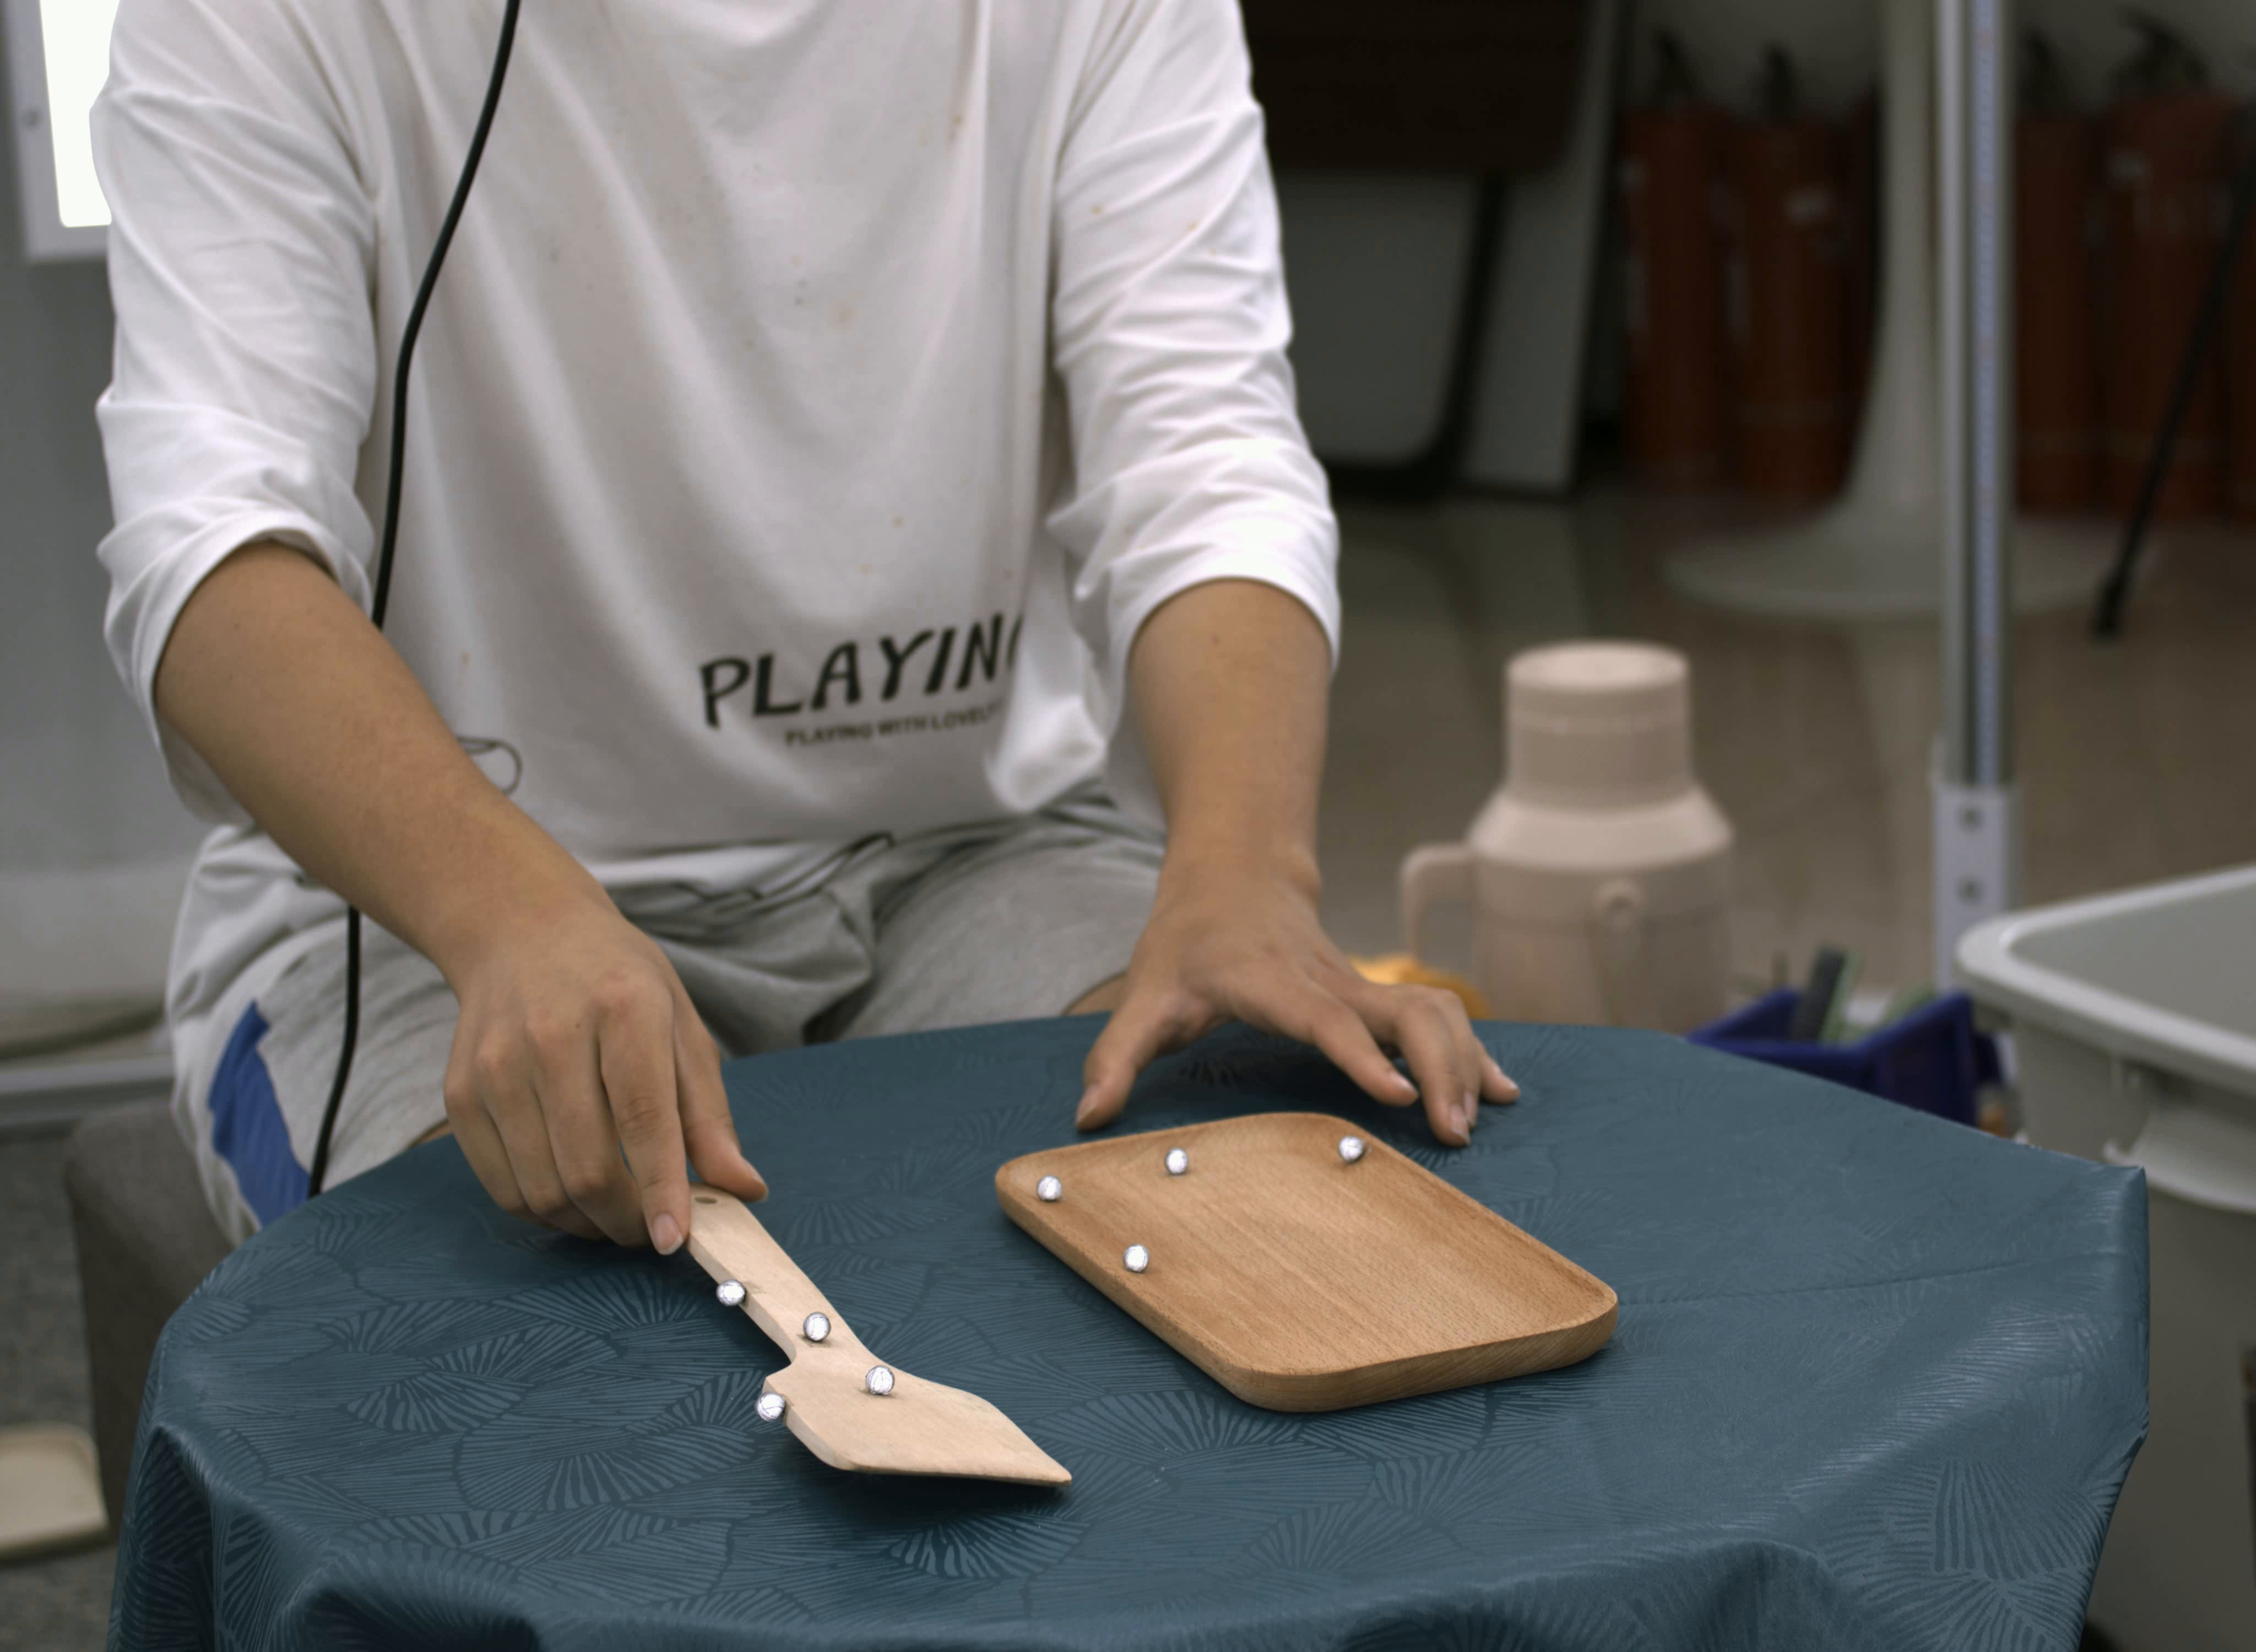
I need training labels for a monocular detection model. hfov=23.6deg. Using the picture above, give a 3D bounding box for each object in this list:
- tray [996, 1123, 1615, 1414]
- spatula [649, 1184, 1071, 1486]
[{"bbox_3d":[0.051,0.135,1.672,0.128,0.023,0.253,-11,15,-17],"label":"tray"},{"bbox_3d":[-0.096,0.150,1.623,0.071,0.011,0.296,6,10,-21],"label":"spatula"}]
